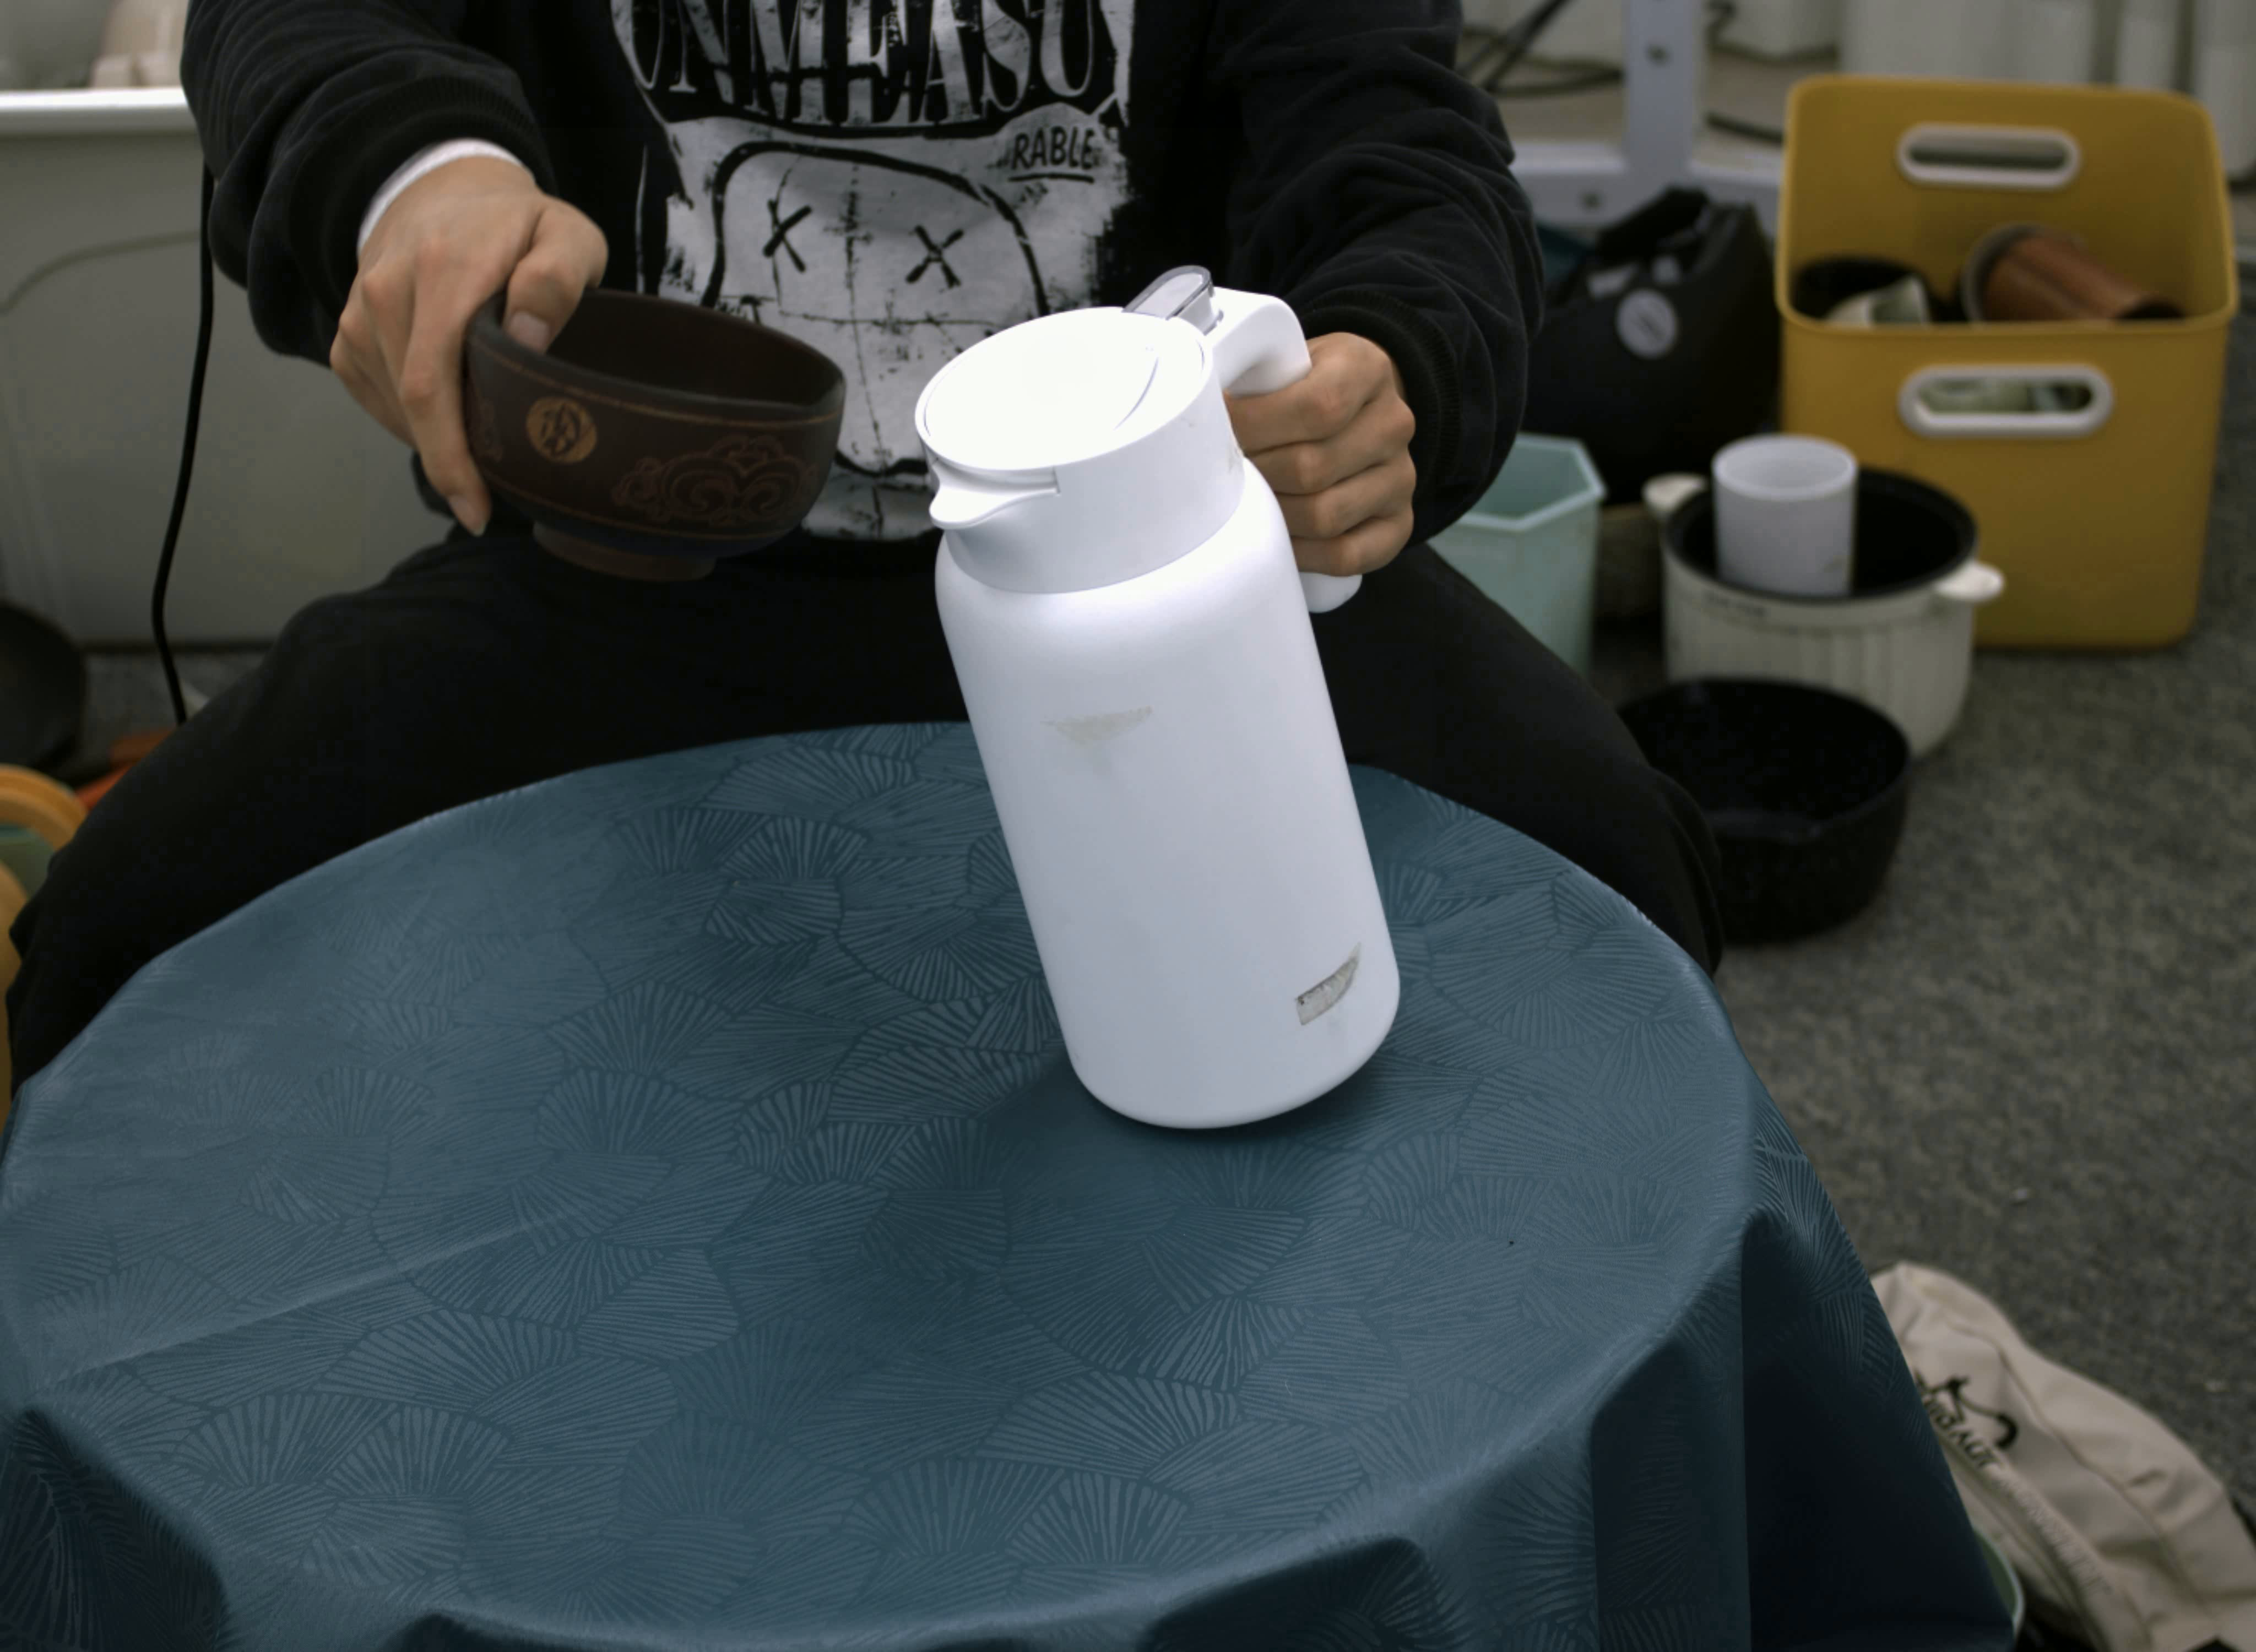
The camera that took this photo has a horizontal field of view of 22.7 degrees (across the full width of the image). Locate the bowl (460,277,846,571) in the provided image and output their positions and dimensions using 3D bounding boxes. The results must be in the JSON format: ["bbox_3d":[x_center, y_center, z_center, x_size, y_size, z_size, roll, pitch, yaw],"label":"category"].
[{"bbox_3d":[-0.150,-0.121,1.750,0.117,0.069,0.119,12,17,-3],"label":"bowl"}]

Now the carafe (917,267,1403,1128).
[{"bbox_3d":[0.018,-0.046,1.872,0.123,0.266,0.176,9,39,37],"label":"carafe"}]
